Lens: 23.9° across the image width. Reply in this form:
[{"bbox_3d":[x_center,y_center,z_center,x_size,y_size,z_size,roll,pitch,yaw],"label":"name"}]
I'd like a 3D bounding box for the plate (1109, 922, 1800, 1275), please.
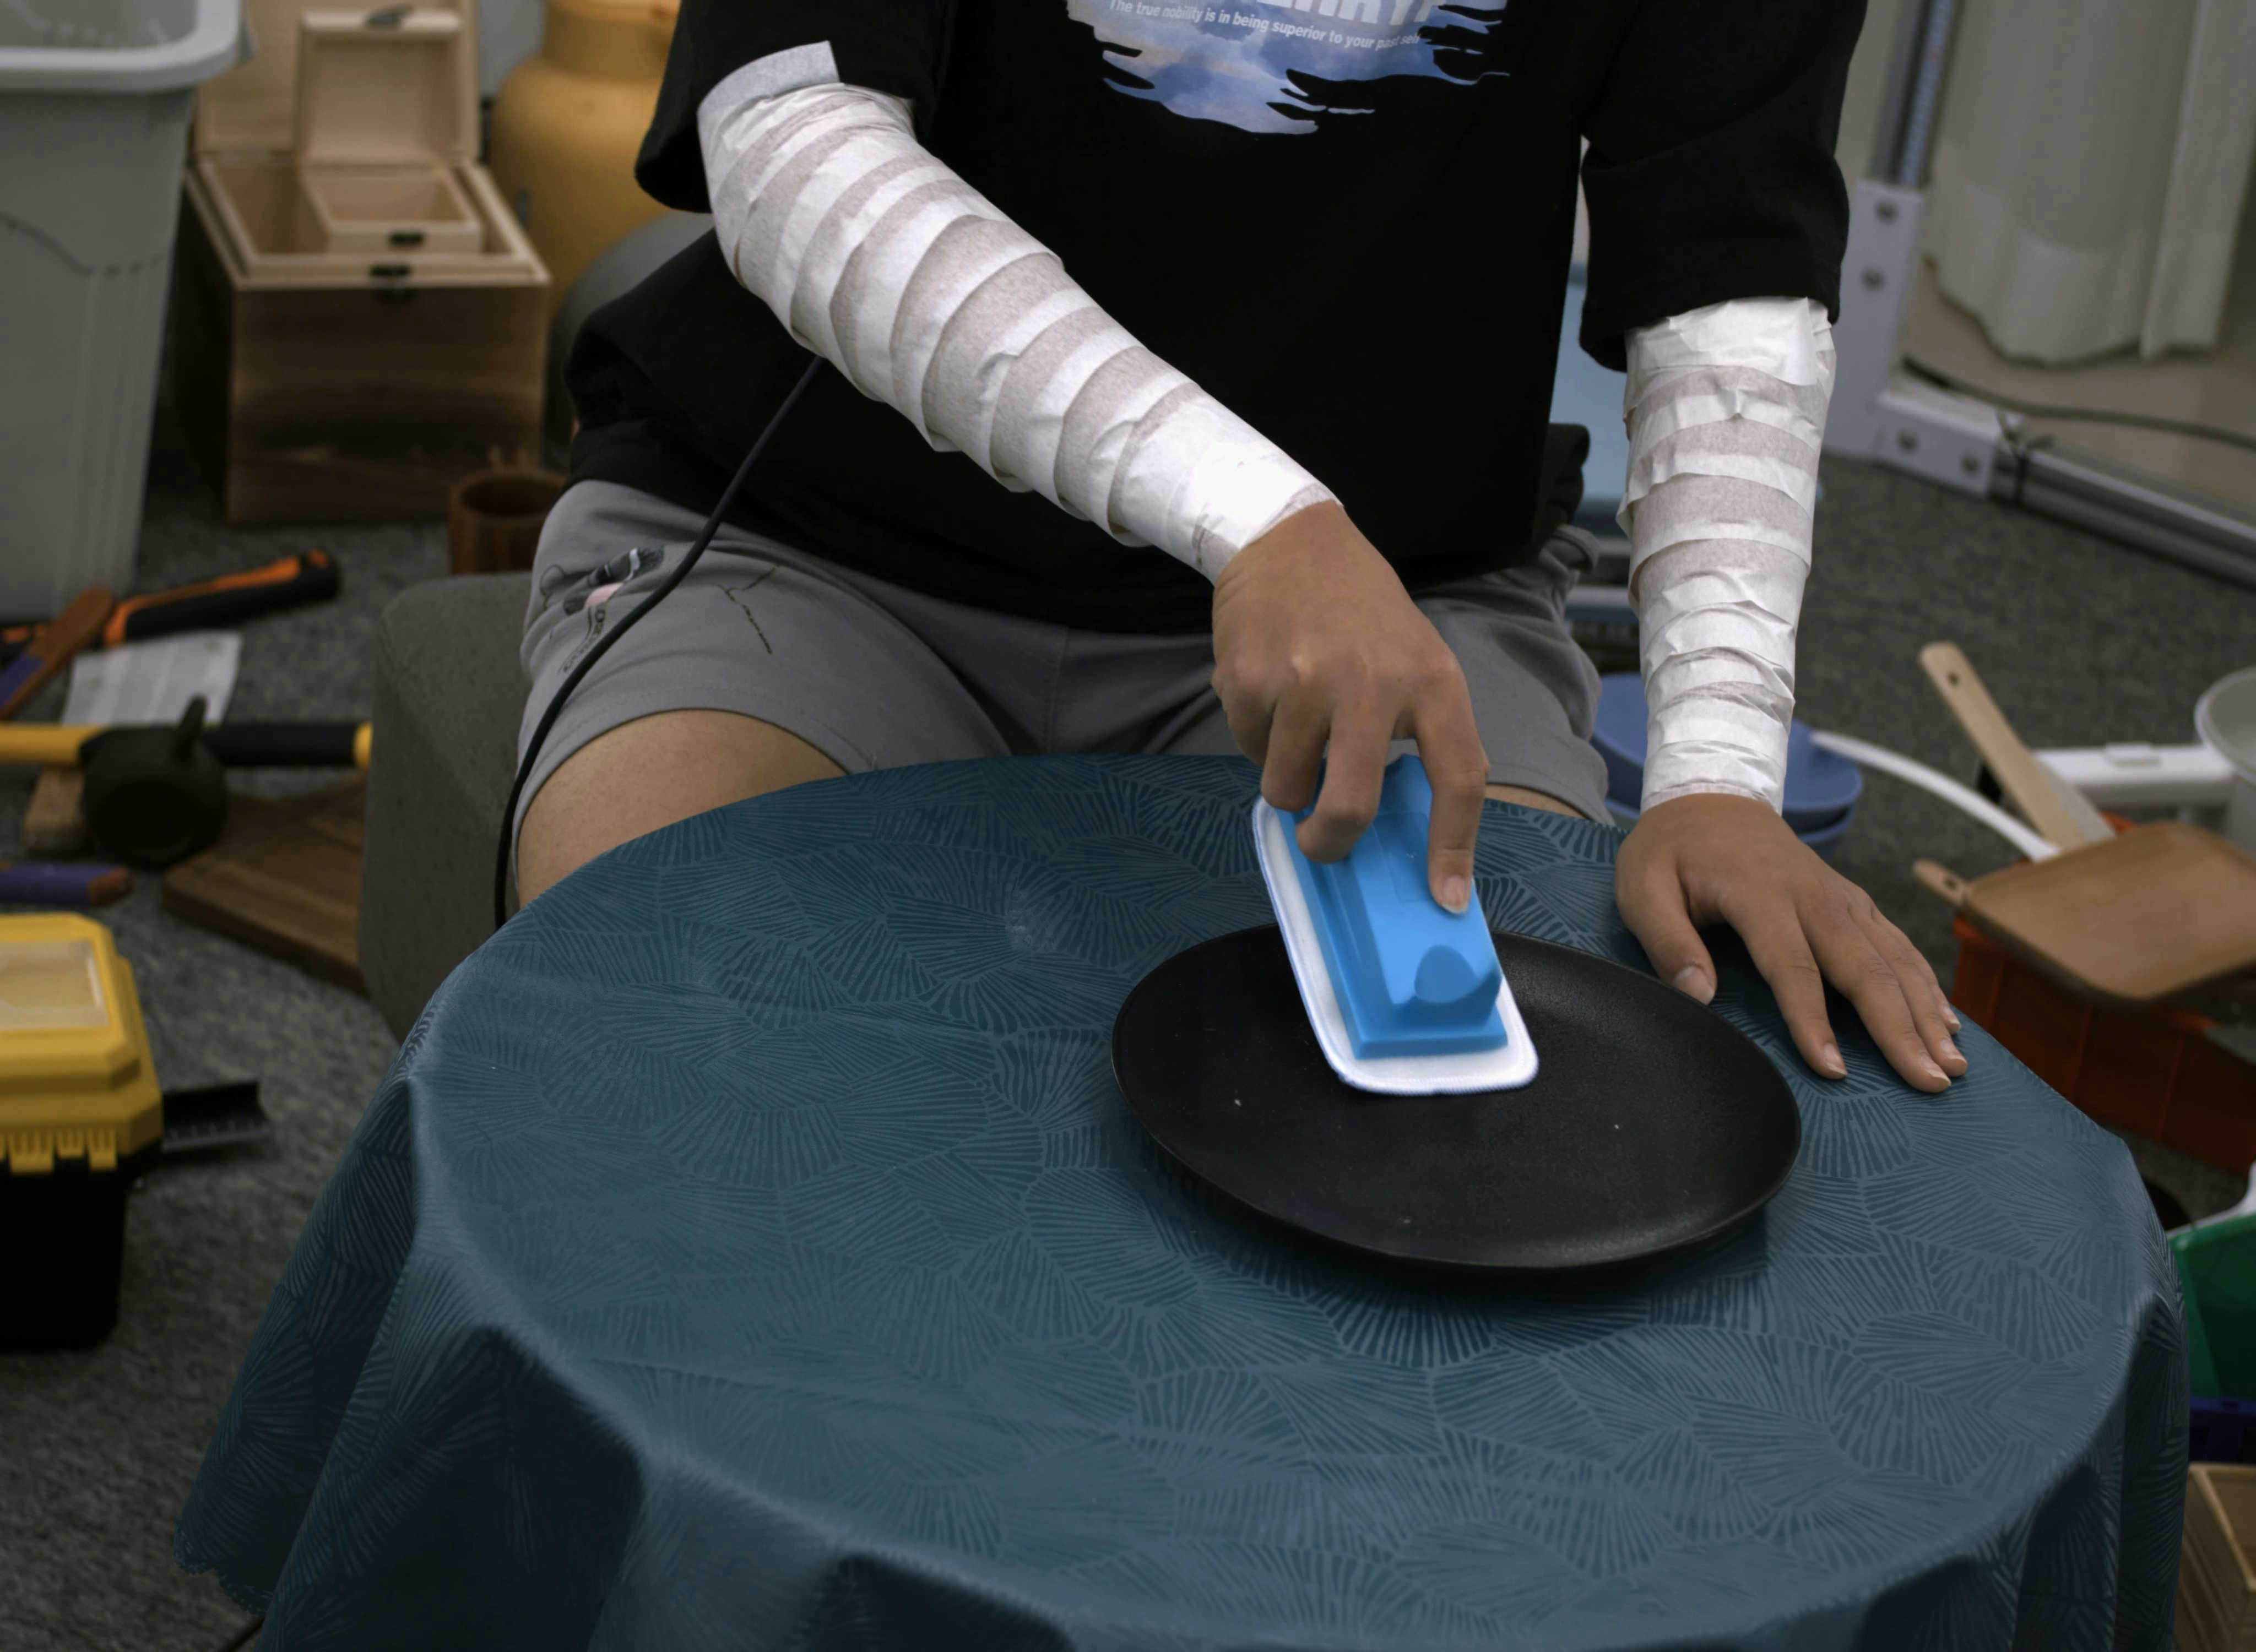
[{"bbox_3d":[0.112,0.097,1.856,0.243,0.023,0.246,5,27,-3],"label":"plate"}]

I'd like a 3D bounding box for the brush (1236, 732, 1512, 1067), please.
[{"bbox_3d":[0.094,0.019,1.900,0.083,0.056,0.145,2,50,-22],"label":"brush"}]
